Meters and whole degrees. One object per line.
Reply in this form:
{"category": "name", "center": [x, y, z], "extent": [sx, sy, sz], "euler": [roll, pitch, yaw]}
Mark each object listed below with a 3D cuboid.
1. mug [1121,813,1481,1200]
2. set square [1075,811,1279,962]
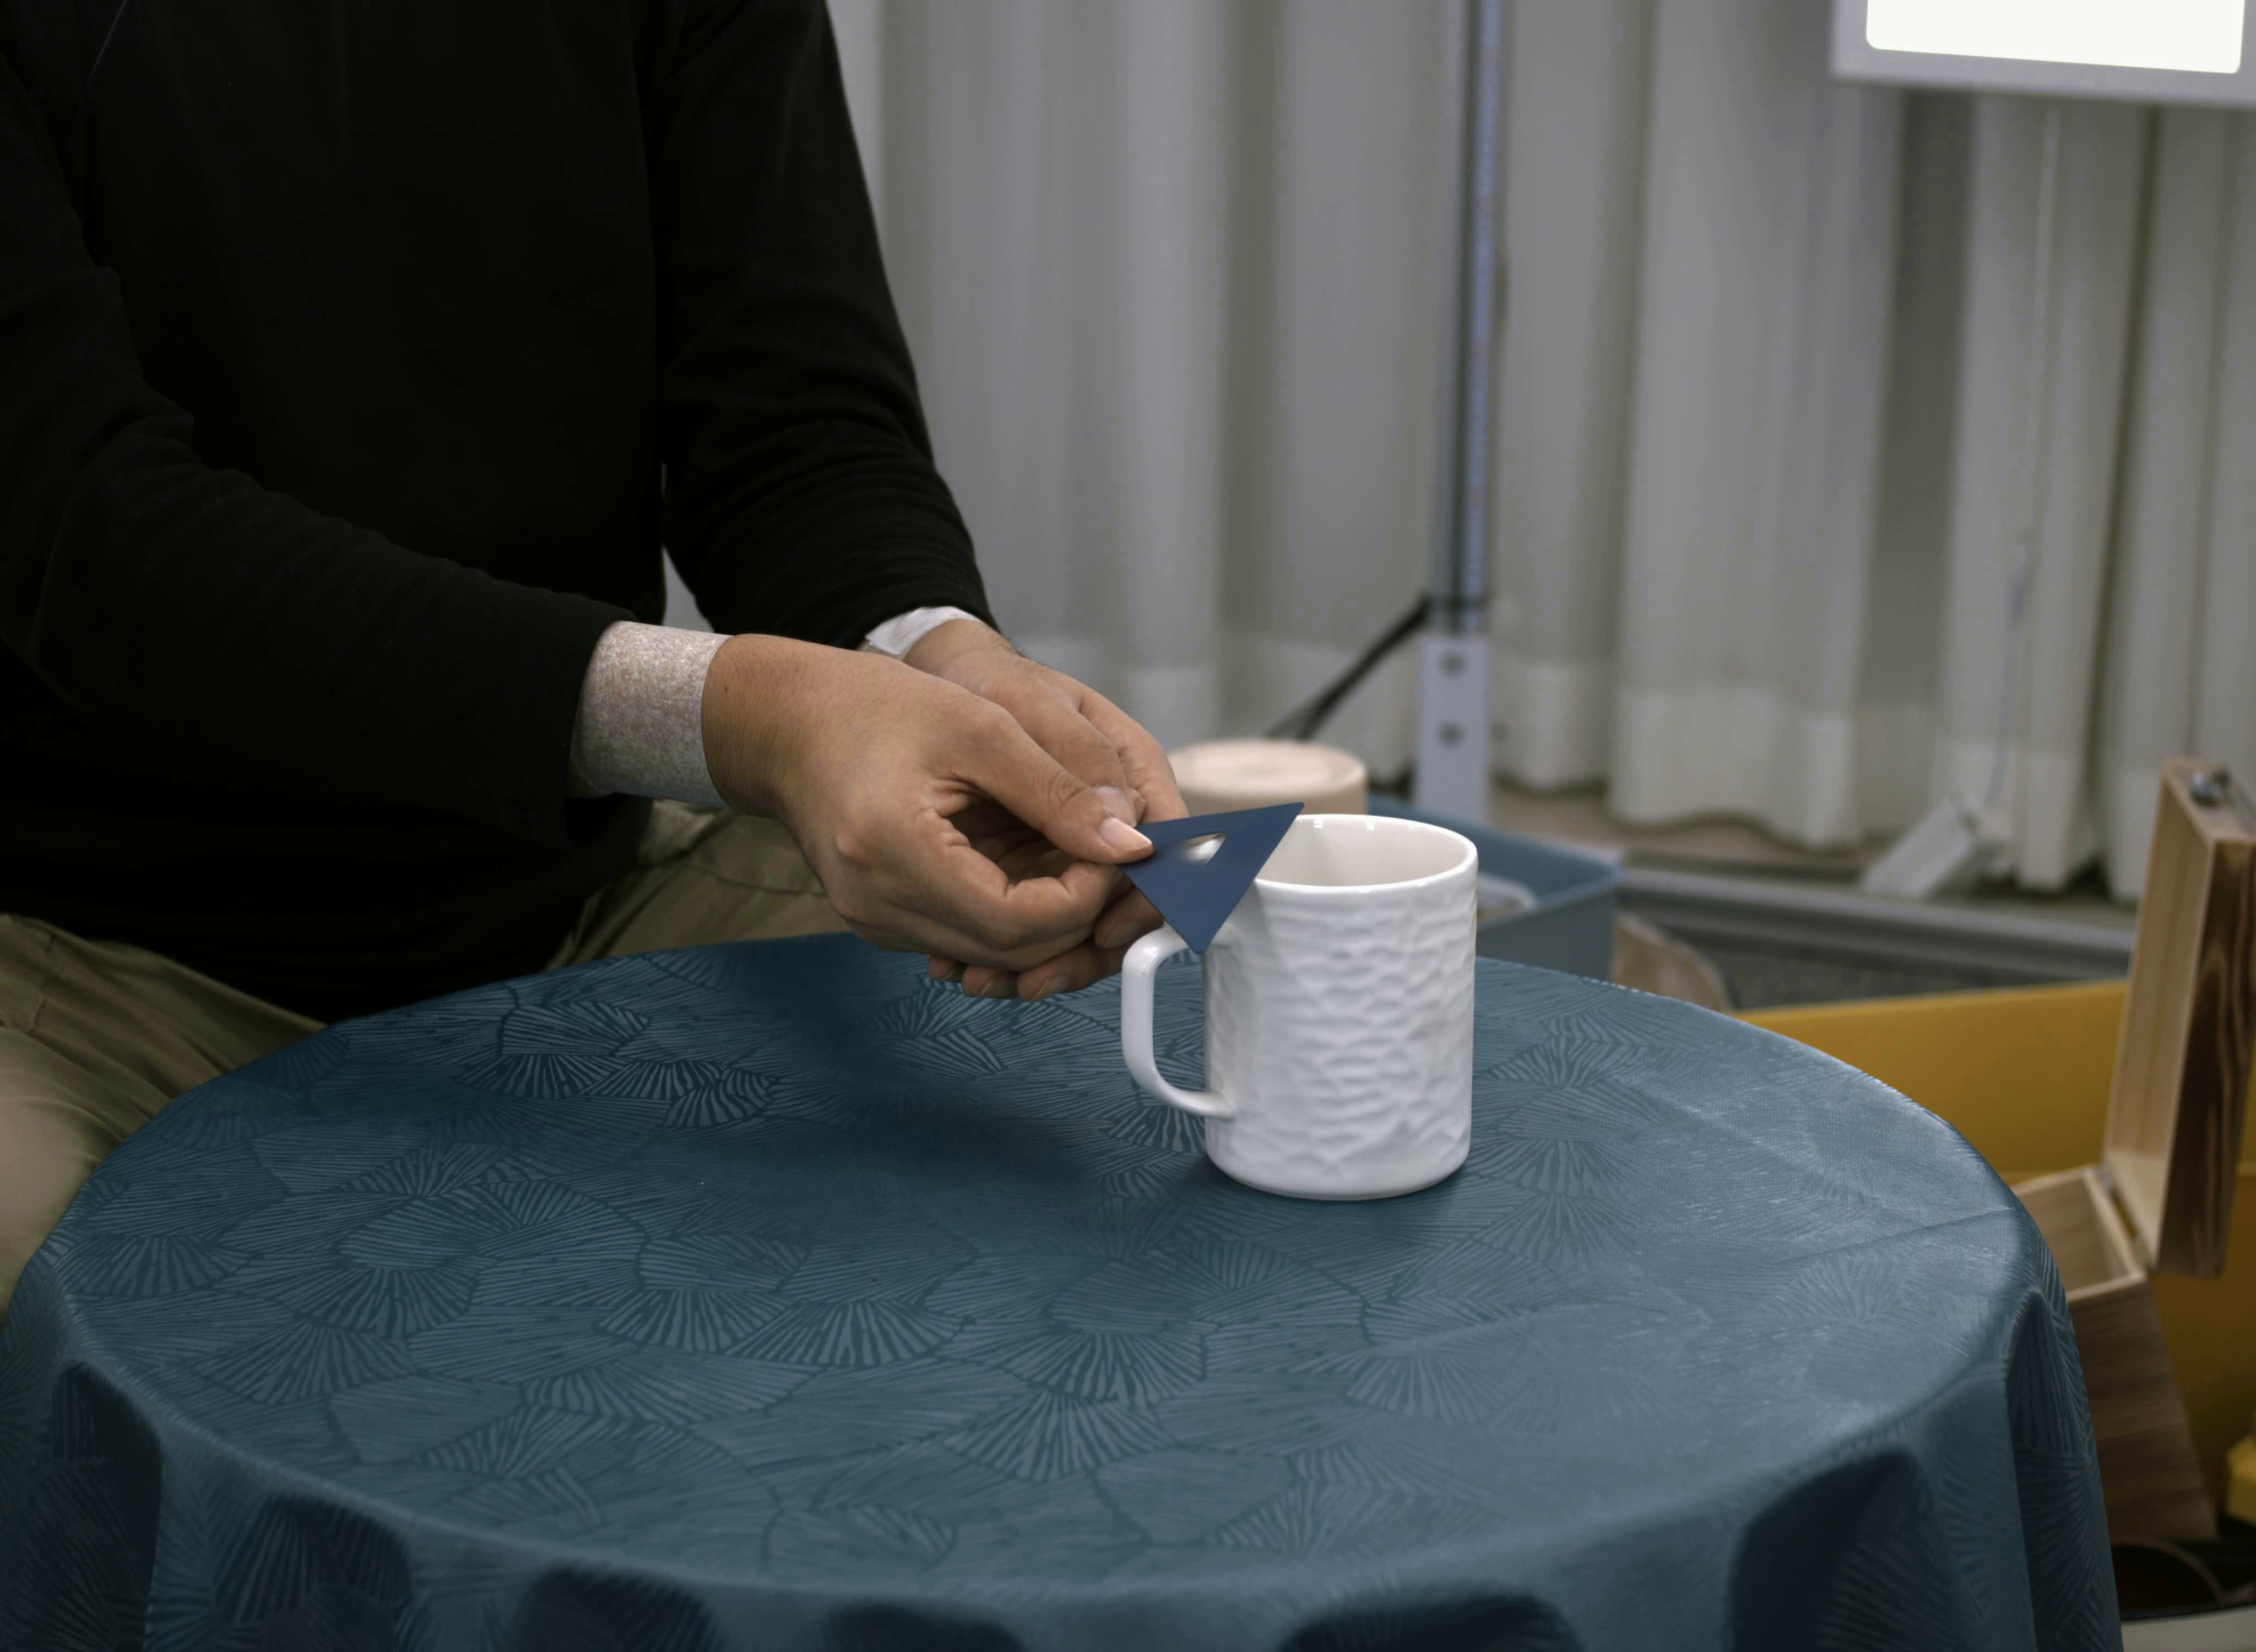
{"category": "mug", "center": [0.052, 0.058, 1.627], "extent": [0.119, 0.103, 0.084], "euler": [-8, 18, -29]}
{"category": "set square", "center": [0.001, 0.015, 1.590], "extent": [0.060, 0.006, 0.132], "euler": [6, 21, 17]}
